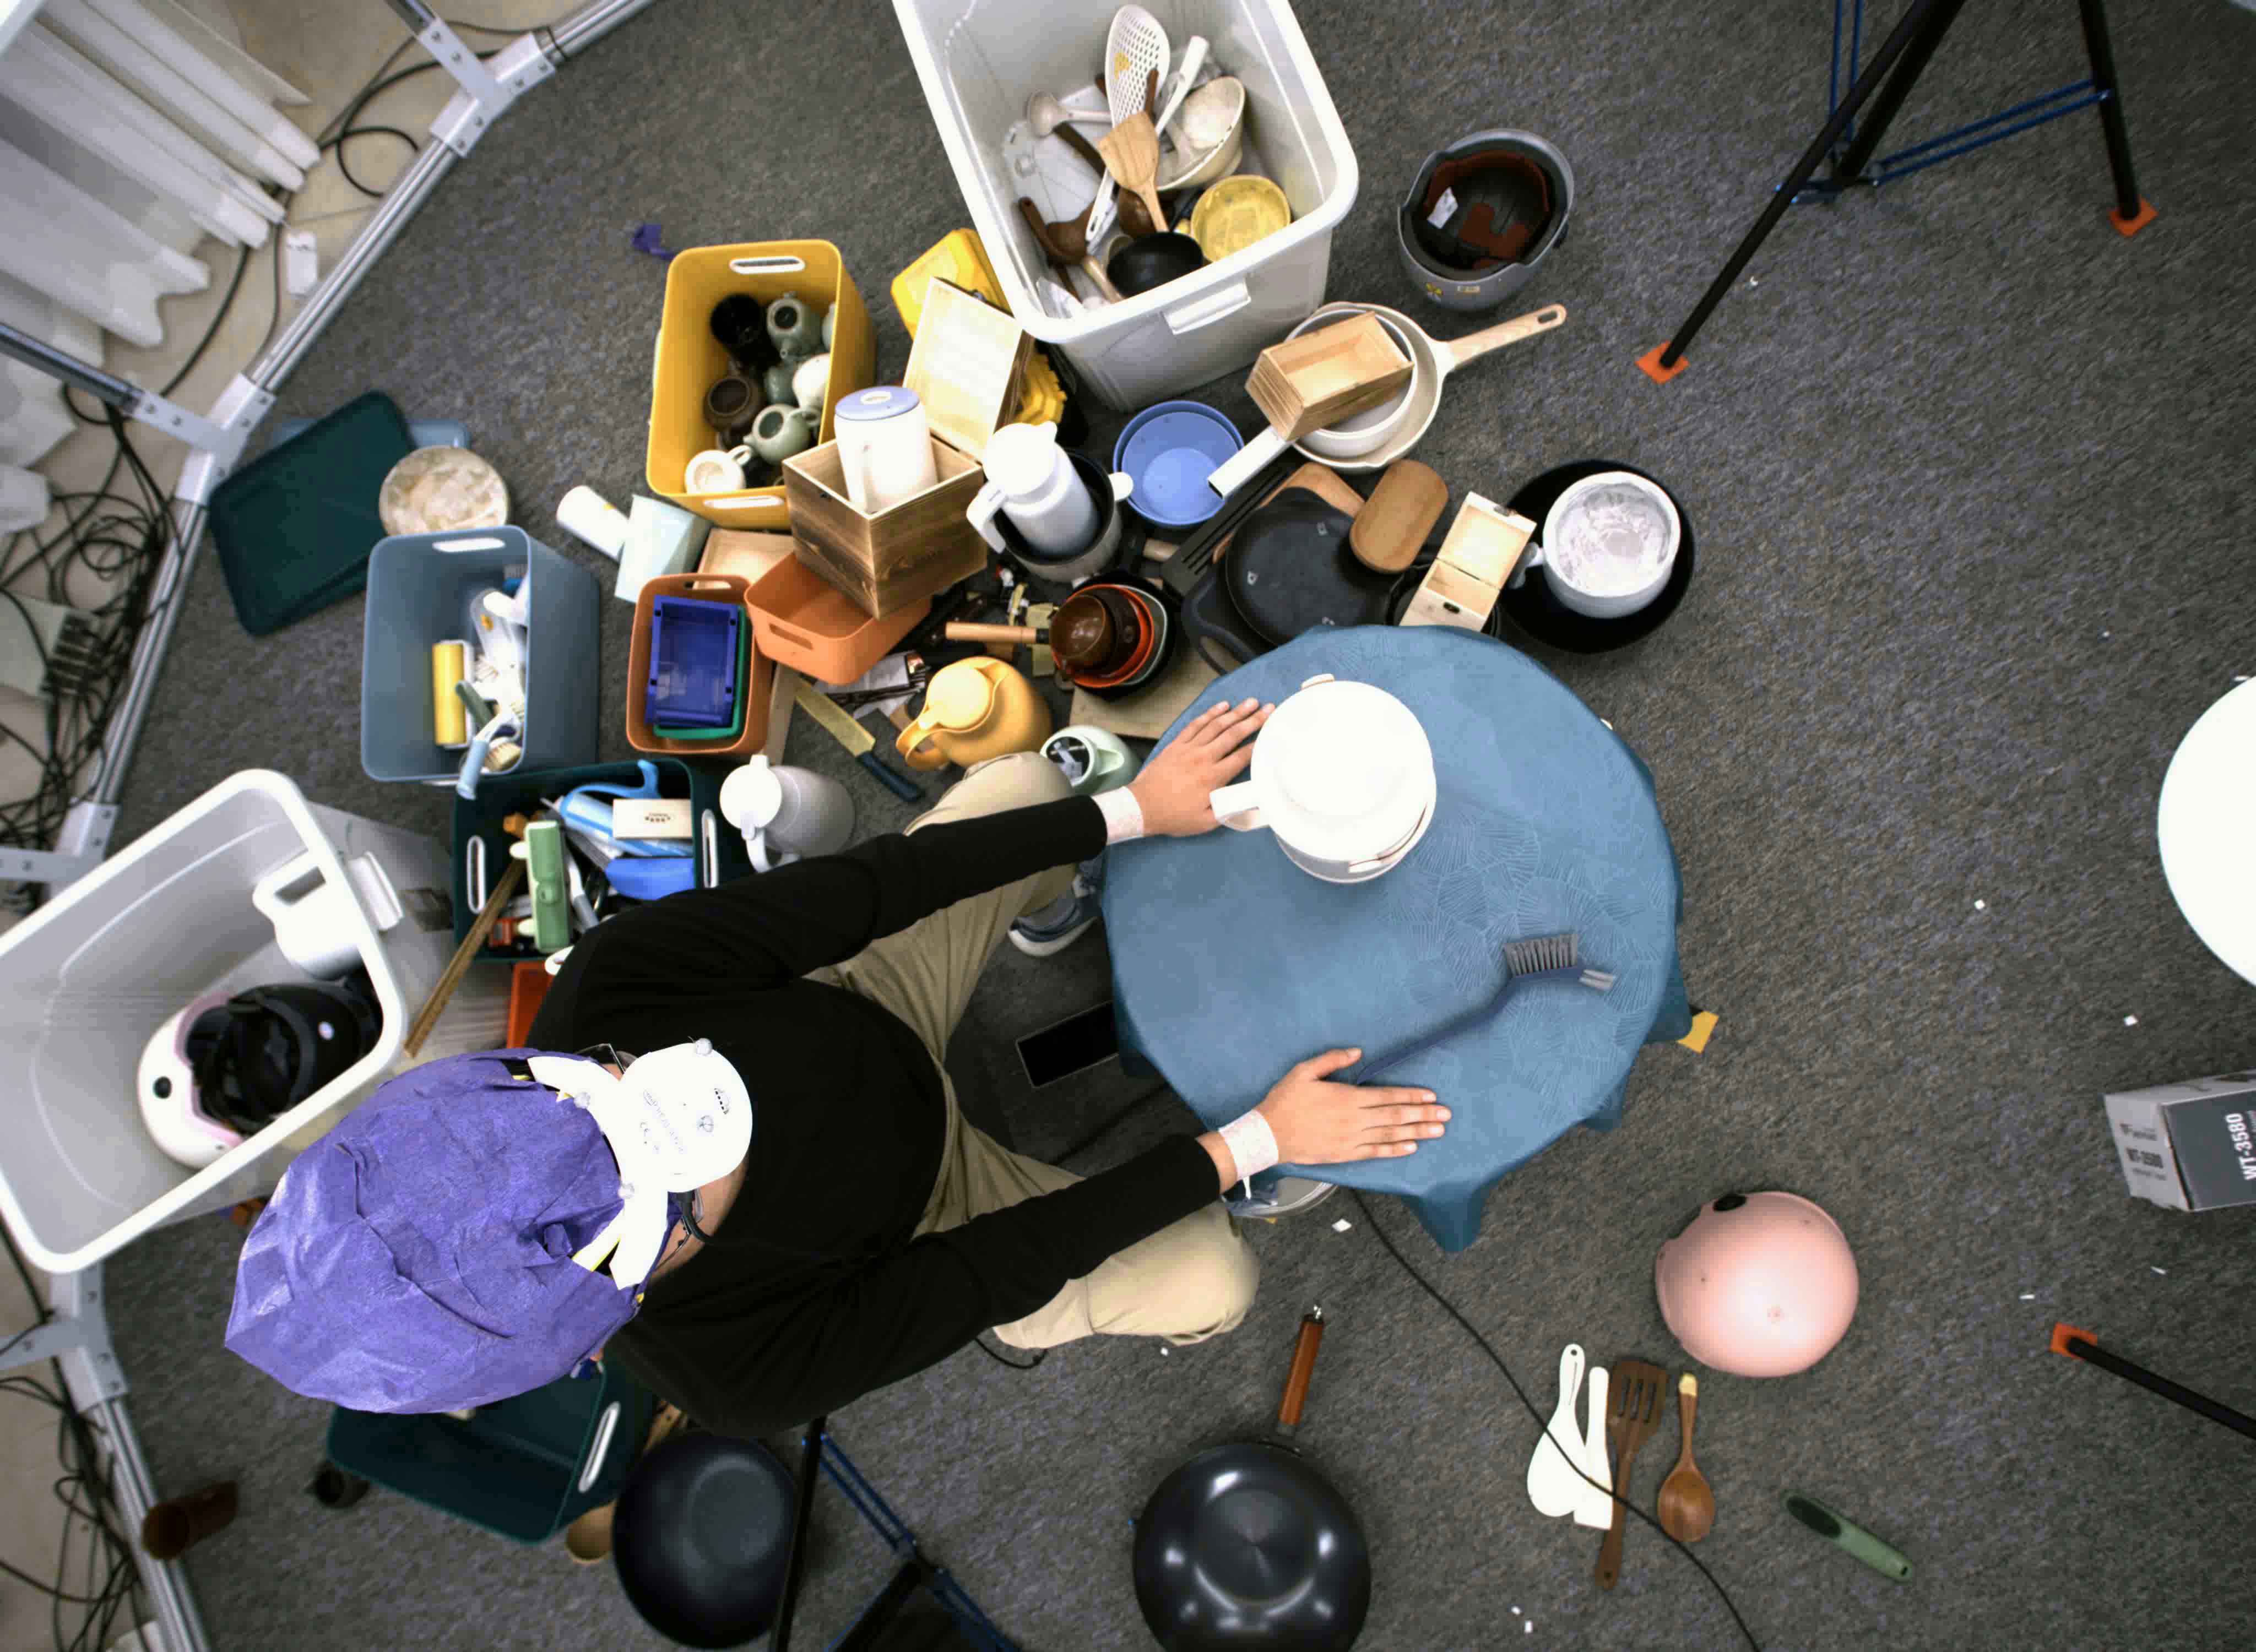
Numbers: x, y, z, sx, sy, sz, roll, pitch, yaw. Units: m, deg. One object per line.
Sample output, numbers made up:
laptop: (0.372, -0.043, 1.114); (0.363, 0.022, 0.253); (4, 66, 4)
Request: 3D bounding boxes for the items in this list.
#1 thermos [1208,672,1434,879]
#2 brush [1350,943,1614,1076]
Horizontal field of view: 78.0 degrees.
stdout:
thermos: (0.183, -0.039, 1.281); (0.208, 0.406, 0.174); (-15, 84, 8)
brush: (0.359, 0.204, 1.419); (0.274, 0.033, 0.095); (-34, 80, 5)
